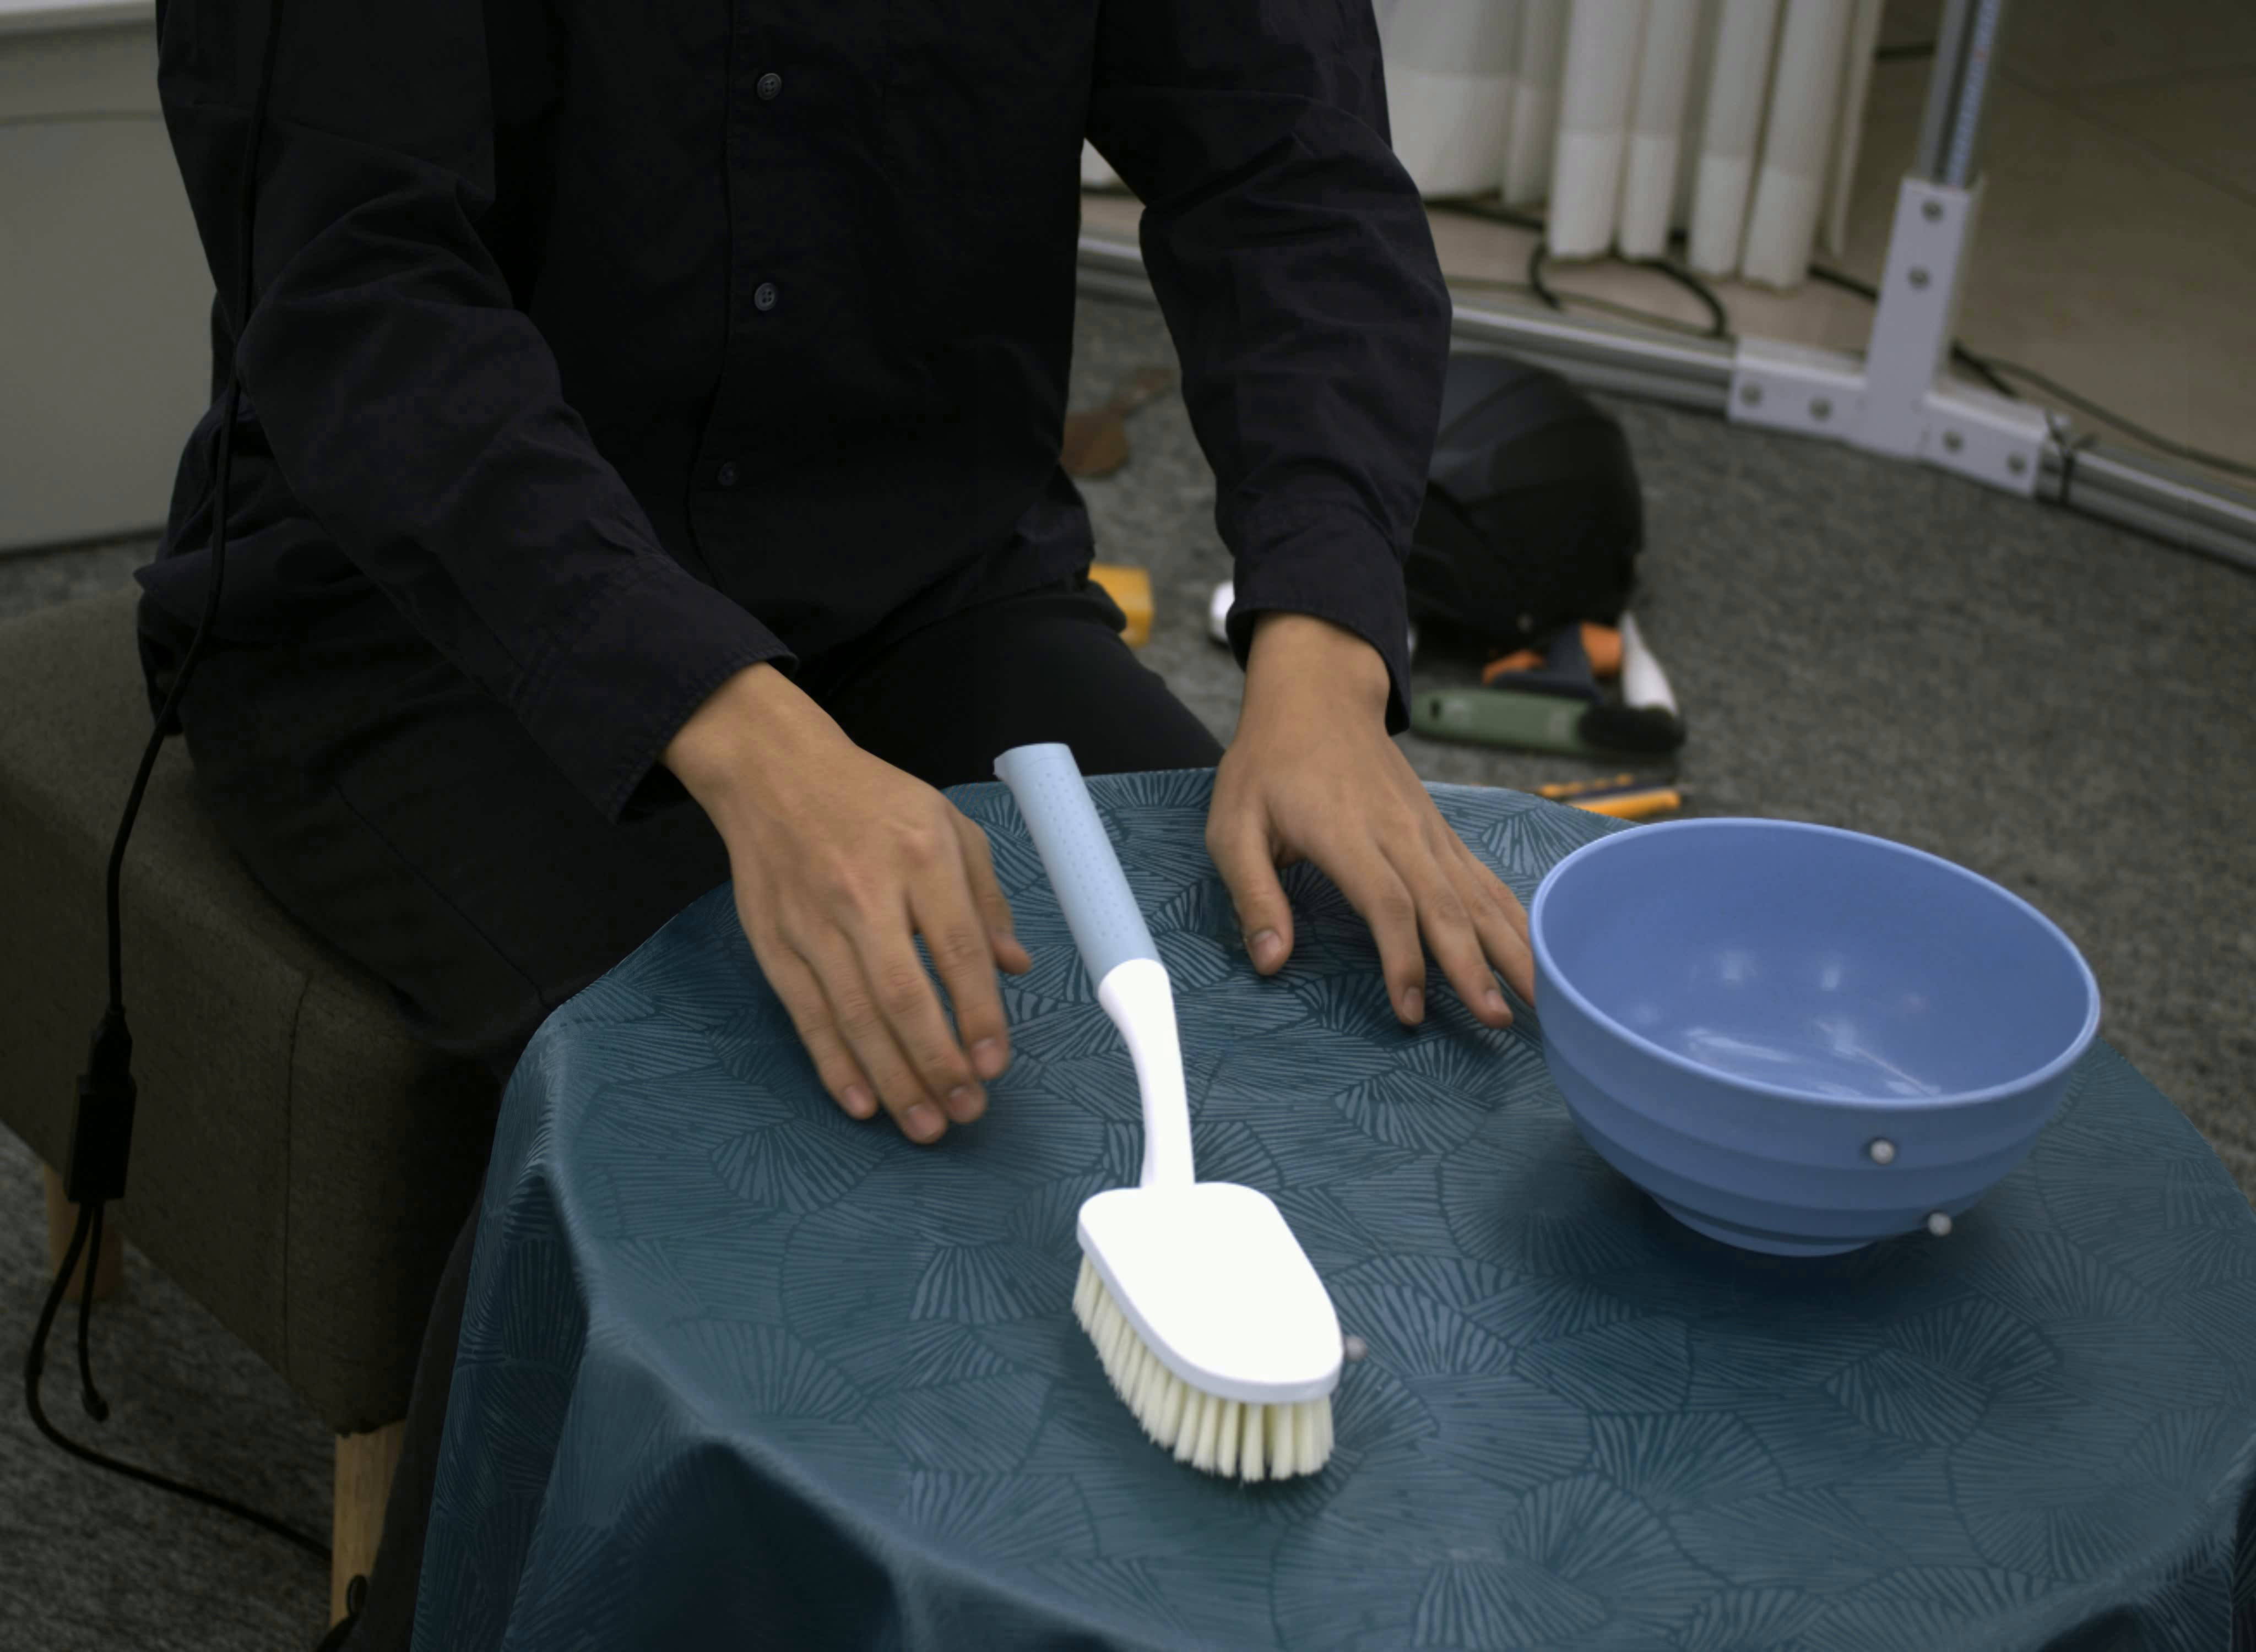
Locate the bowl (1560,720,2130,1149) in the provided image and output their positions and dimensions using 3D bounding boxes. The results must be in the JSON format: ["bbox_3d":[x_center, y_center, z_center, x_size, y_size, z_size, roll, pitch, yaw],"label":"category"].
[{"bbox_3d":[0.242,0.049,1.848,0.196,0.095,0.198,5,27,-3],"label":"bowl"}]

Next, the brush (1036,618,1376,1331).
[{"bbox_3d":[0.019,0.057,1.789,0.082,0.084,0.328,33,22,-38],"label":"brush"}]
